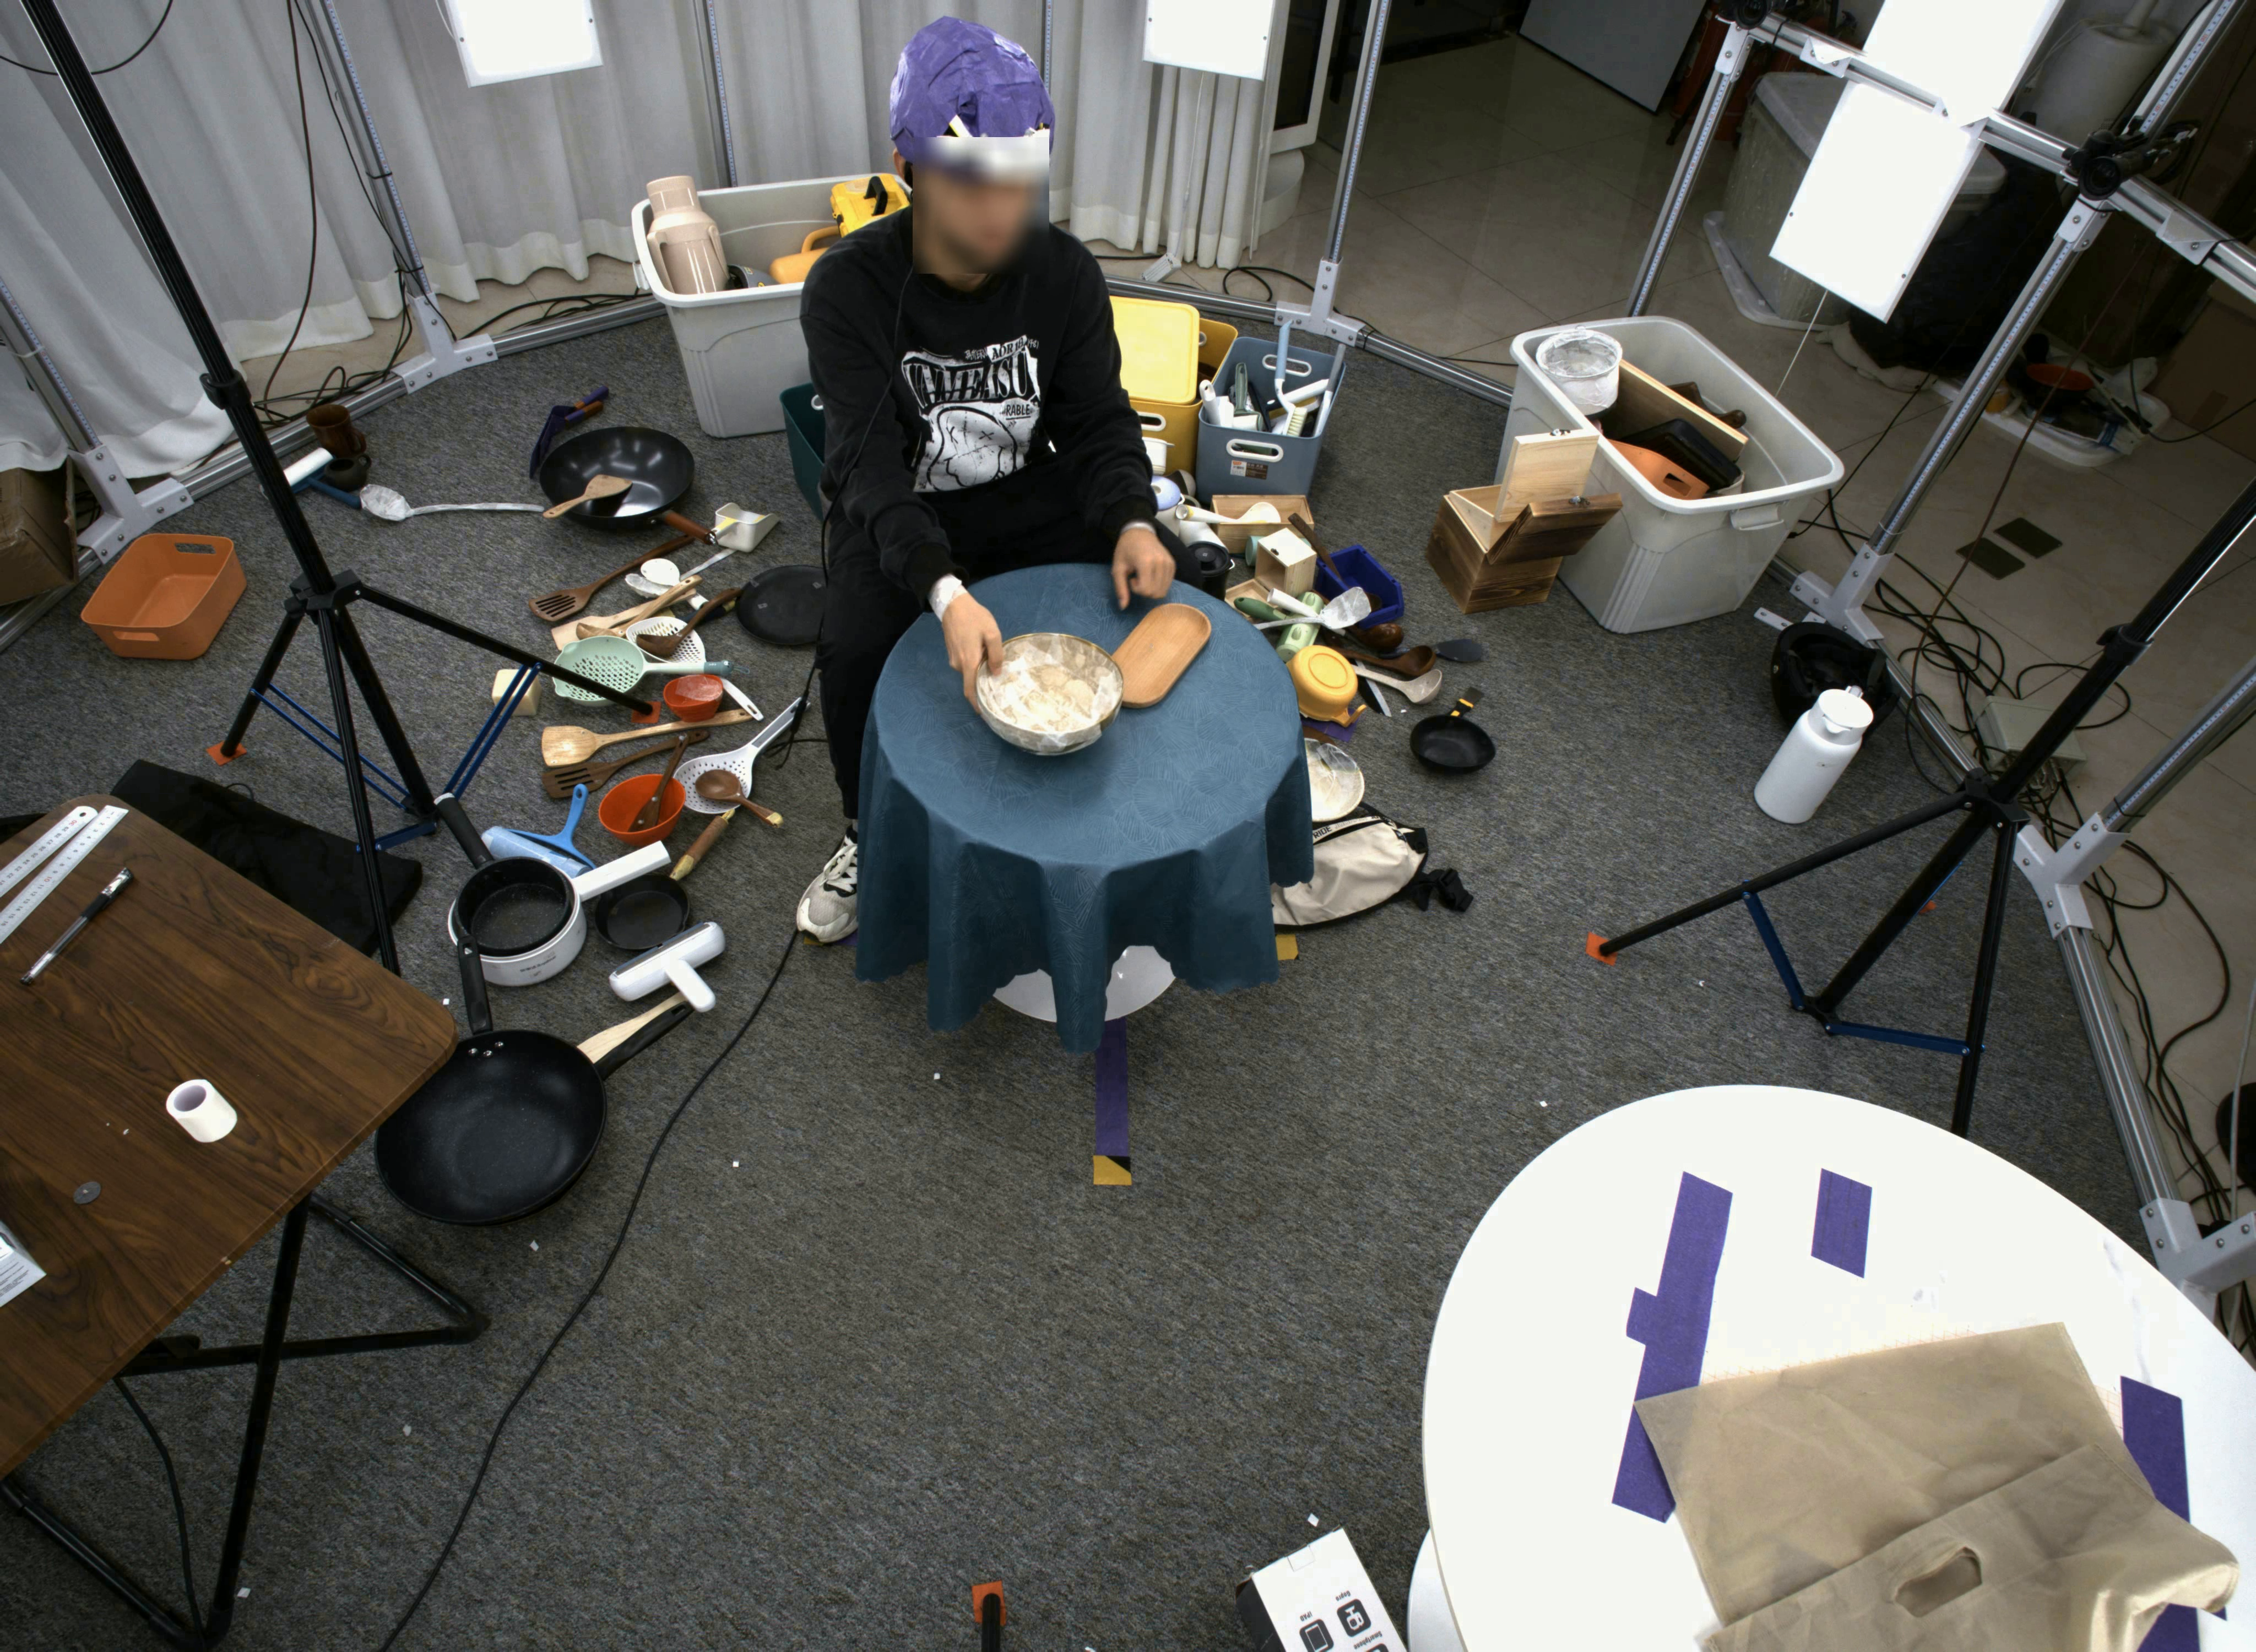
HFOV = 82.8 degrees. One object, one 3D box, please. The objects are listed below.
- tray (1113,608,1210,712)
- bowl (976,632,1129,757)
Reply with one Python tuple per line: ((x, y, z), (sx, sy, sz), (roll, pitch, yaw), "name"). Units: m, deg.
((0.042, -0.247, 1.892), (0.102, 0.020, 0.235), (22, 53, 18), "tray")
((-0.104, -0.166, 1.761), (0.214, 0.092, 0.220), (2, 47, -2), "bowl")
